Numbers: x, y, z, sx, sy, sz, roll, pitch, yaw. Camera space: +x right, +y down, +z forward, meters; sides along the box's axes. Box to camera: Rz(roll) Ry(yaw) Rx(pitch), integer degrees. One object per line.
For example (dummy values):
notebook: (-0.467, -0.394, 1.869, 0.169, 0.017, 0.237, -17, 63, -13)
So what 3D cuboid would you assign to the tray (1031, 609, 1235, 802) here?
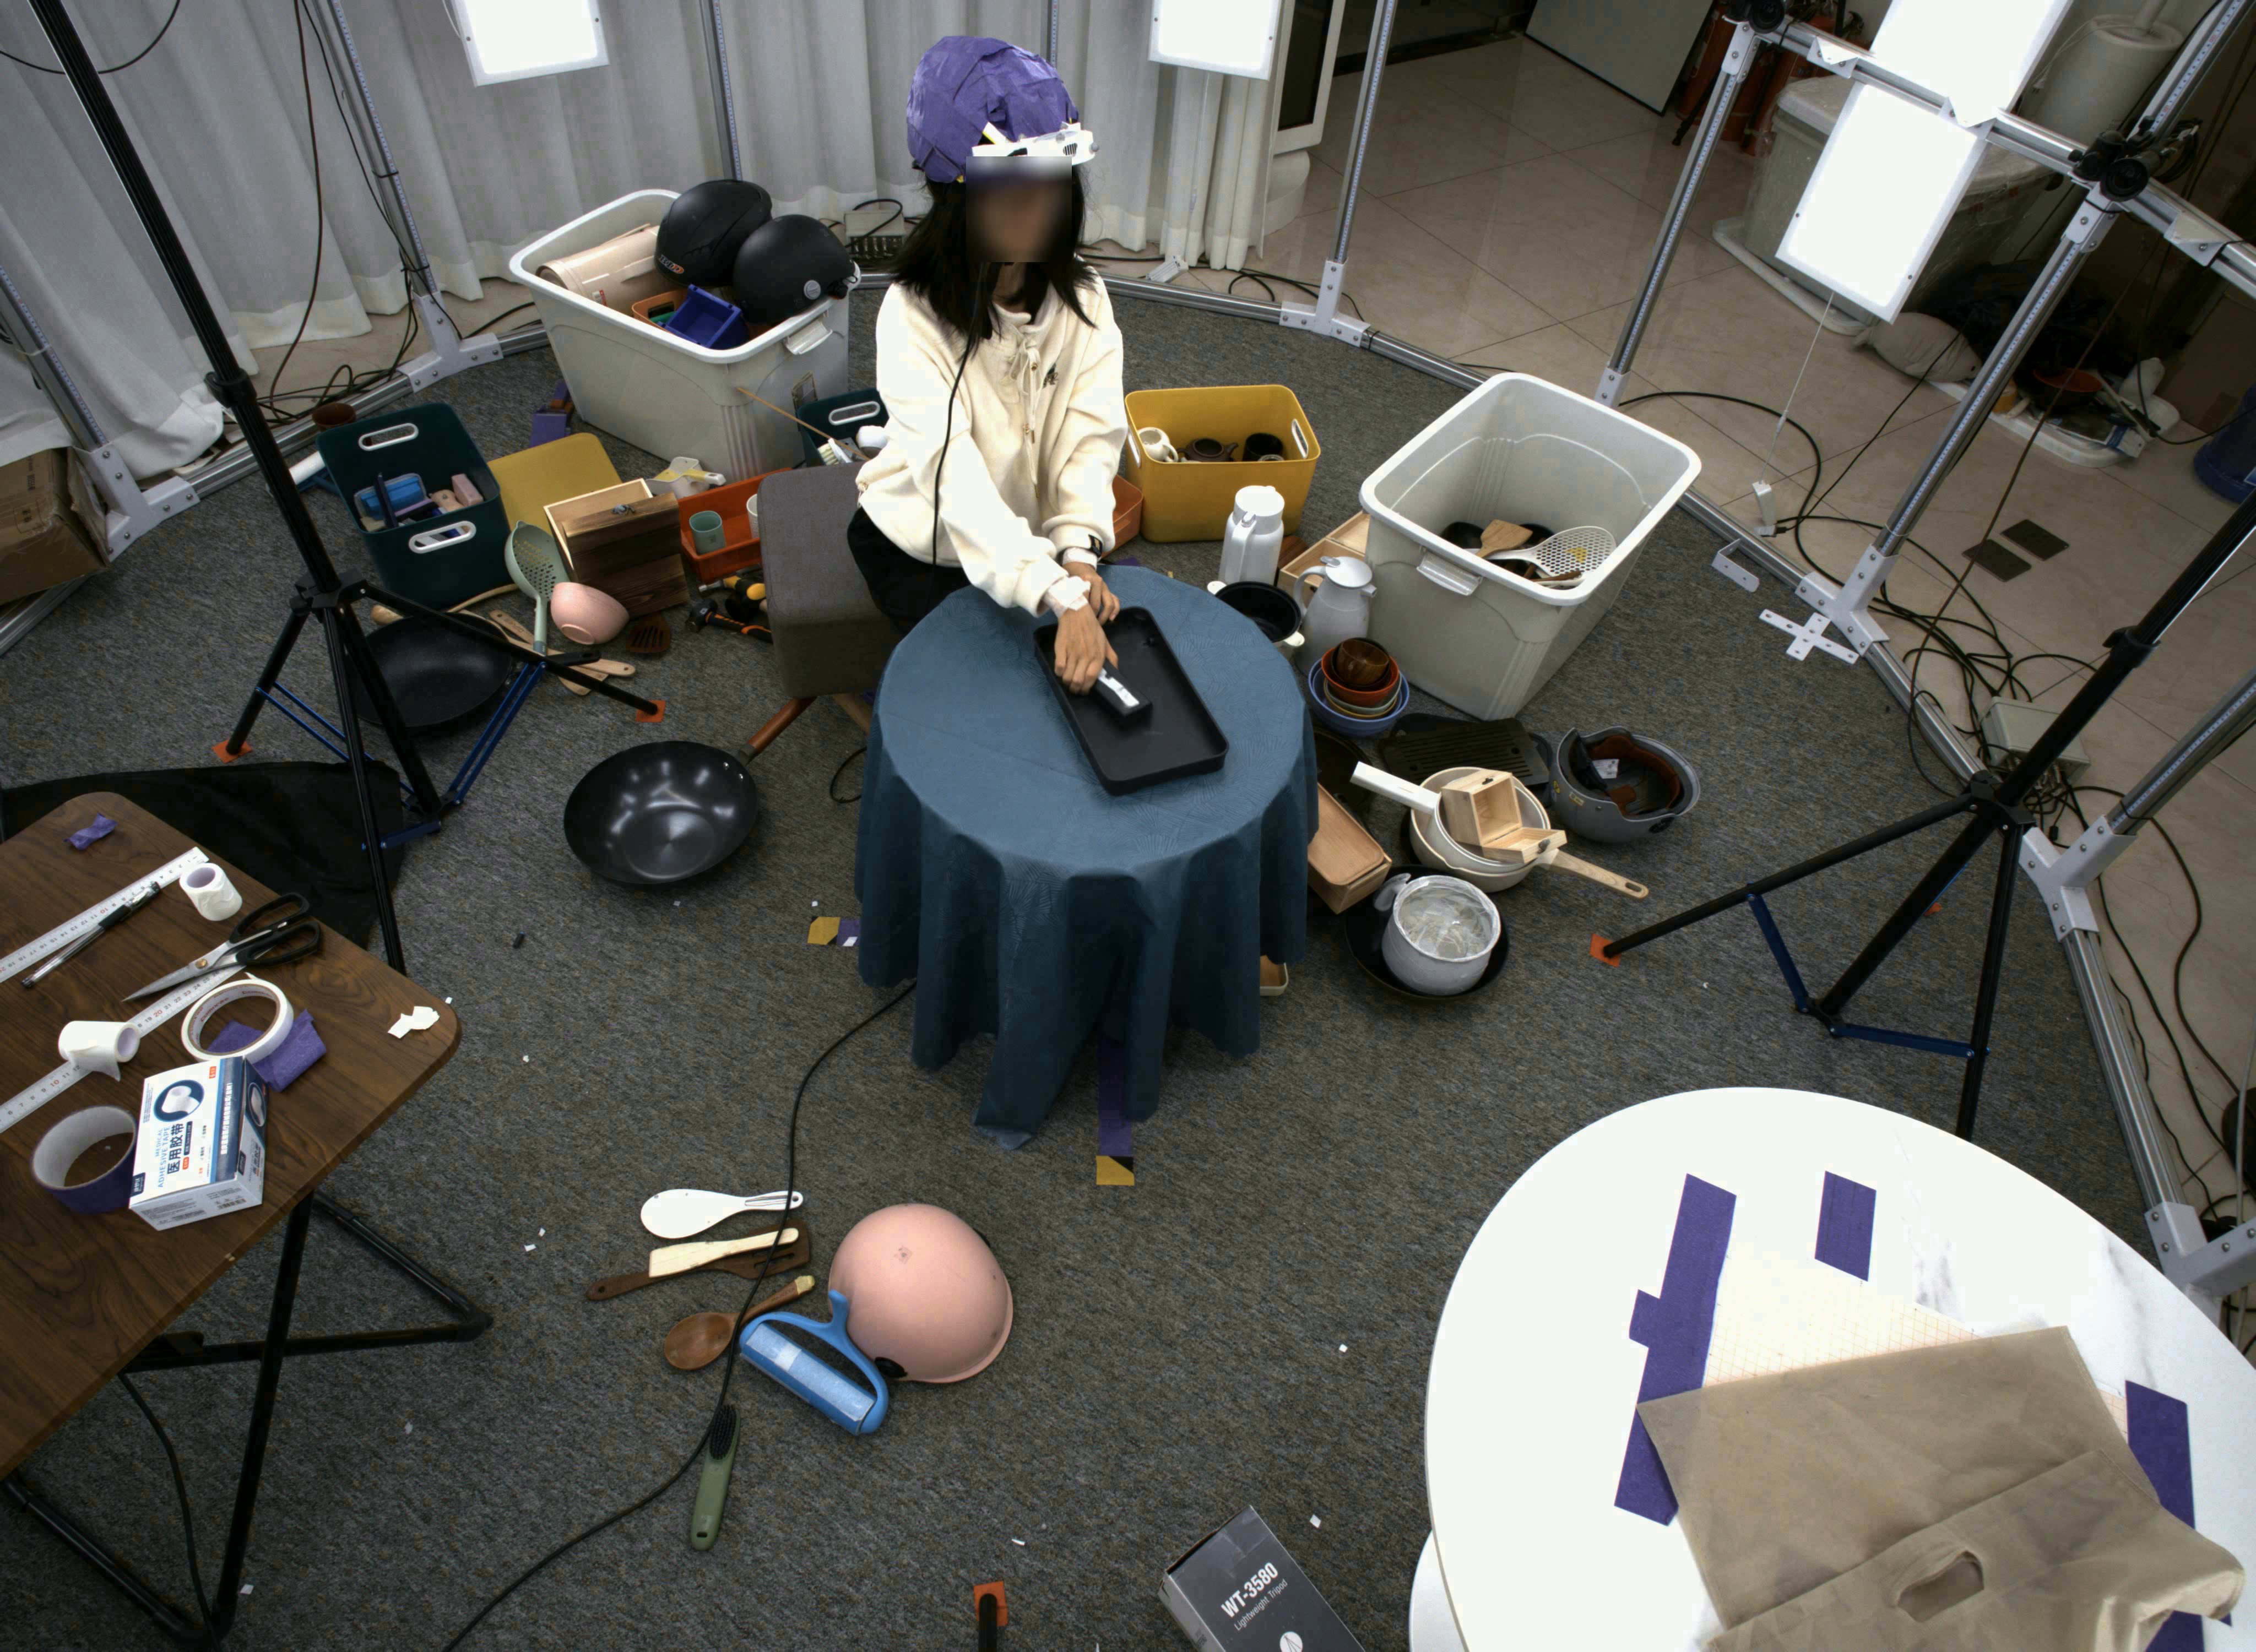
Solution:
tray: (0.002, -0.176, 1.798, 0.184, 0.036, 0.325, -17, 53, -18)

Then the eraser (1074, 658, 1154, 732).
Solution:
eraser: (-0.021, -0.186, 1.807, 0.054, 0.030, 0.128, -25, 54, -28)
